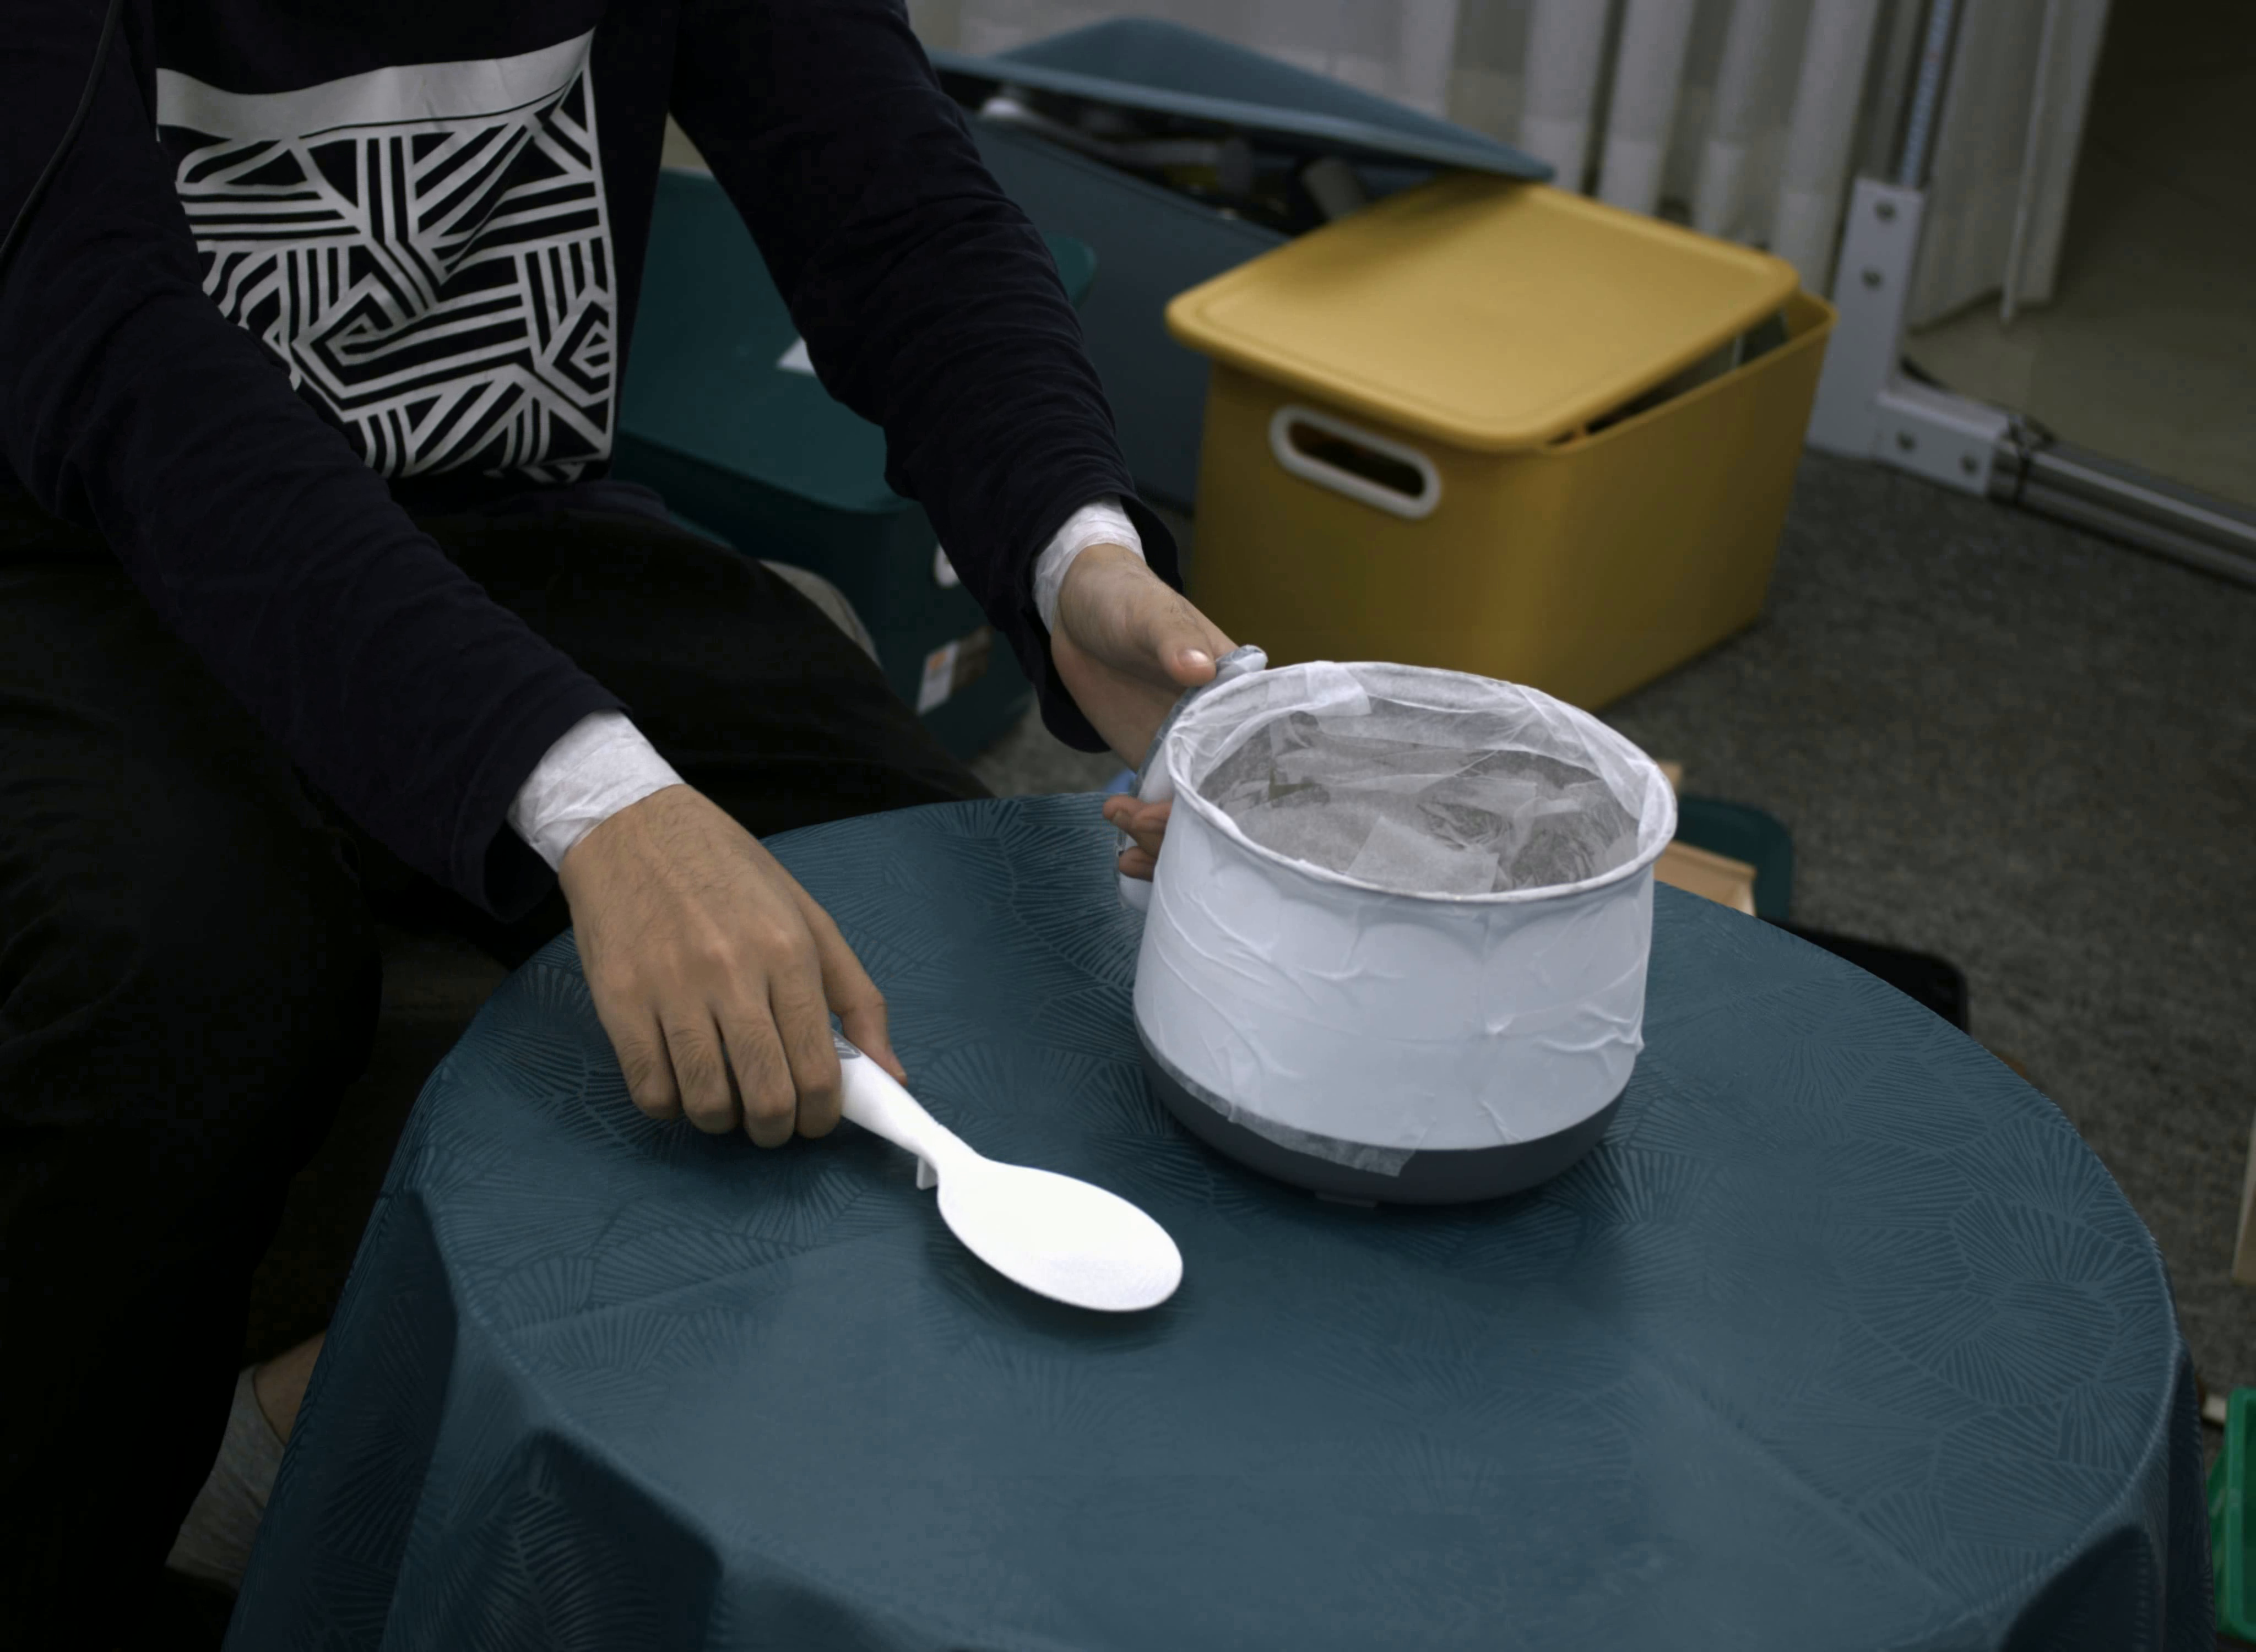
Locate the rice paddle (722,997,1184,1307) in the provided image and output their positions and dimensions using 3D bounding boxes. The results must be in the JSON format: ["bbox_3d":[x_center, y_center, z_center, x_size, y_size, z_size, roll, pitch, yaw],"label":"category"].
[{"bbox_3d":[-0.060,0.111,1.785,0.068,0.029,0.207,-18,35,-40],"label":"rice paddle"}]

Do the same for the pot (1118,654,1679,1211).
[{"bbox_3d":[0.077,0.030,1.865,0.177,0.136,0.236,-11,30,-35],"label":"pot"}]
